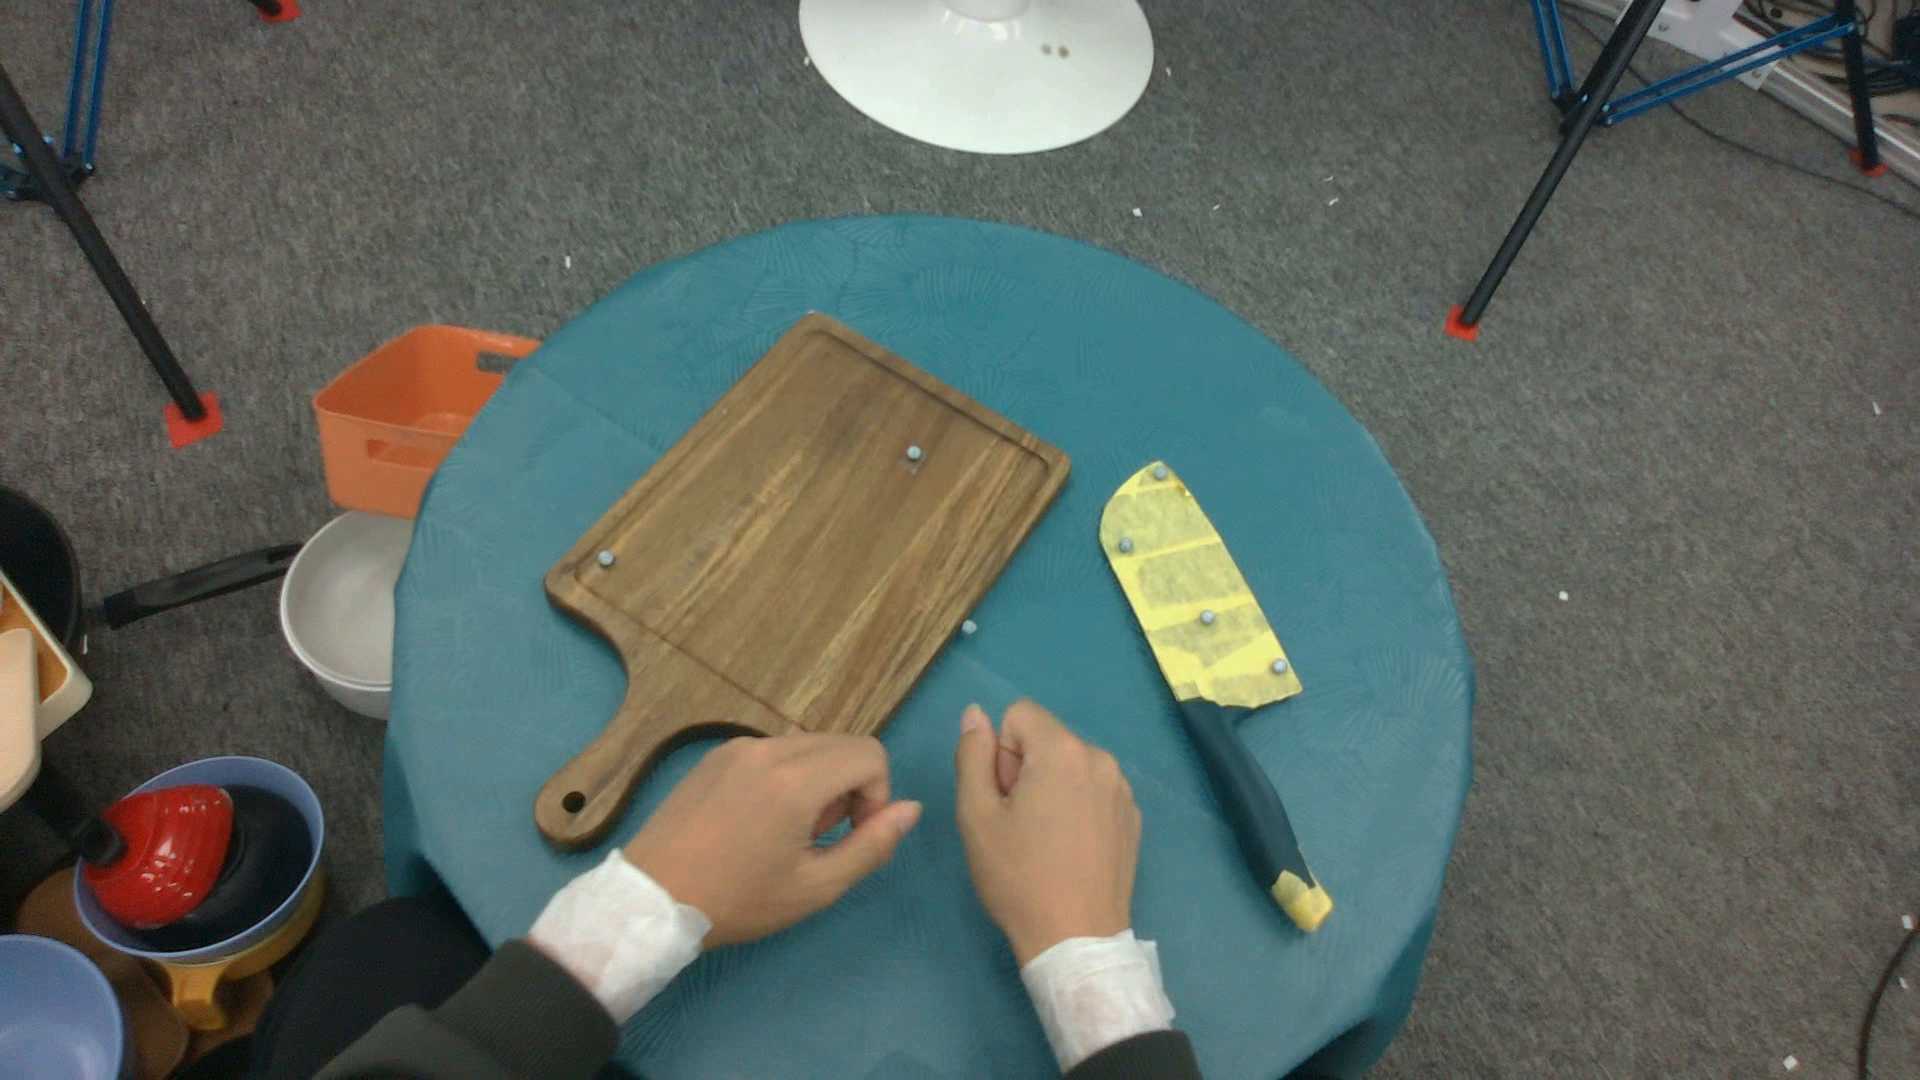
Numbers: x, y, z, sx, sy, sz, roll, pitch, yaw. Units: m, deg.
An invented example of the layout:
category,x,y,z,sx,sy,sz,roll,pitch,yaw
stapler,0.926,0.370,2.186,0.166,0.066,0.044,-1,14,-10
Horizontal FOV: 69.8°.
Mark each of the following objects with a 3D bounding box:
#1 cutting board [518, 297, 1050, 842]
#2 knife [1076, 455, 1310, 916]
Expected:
category,x,y,z,sx,sy,sz,roll,pitch,yaw
cutting board,-0.116,0.017,0.753,0.201,0.023,0.354,31,58,11
knife,0.136,0.067,0.767,0.081,0.027,0.290,-11,60,-14
